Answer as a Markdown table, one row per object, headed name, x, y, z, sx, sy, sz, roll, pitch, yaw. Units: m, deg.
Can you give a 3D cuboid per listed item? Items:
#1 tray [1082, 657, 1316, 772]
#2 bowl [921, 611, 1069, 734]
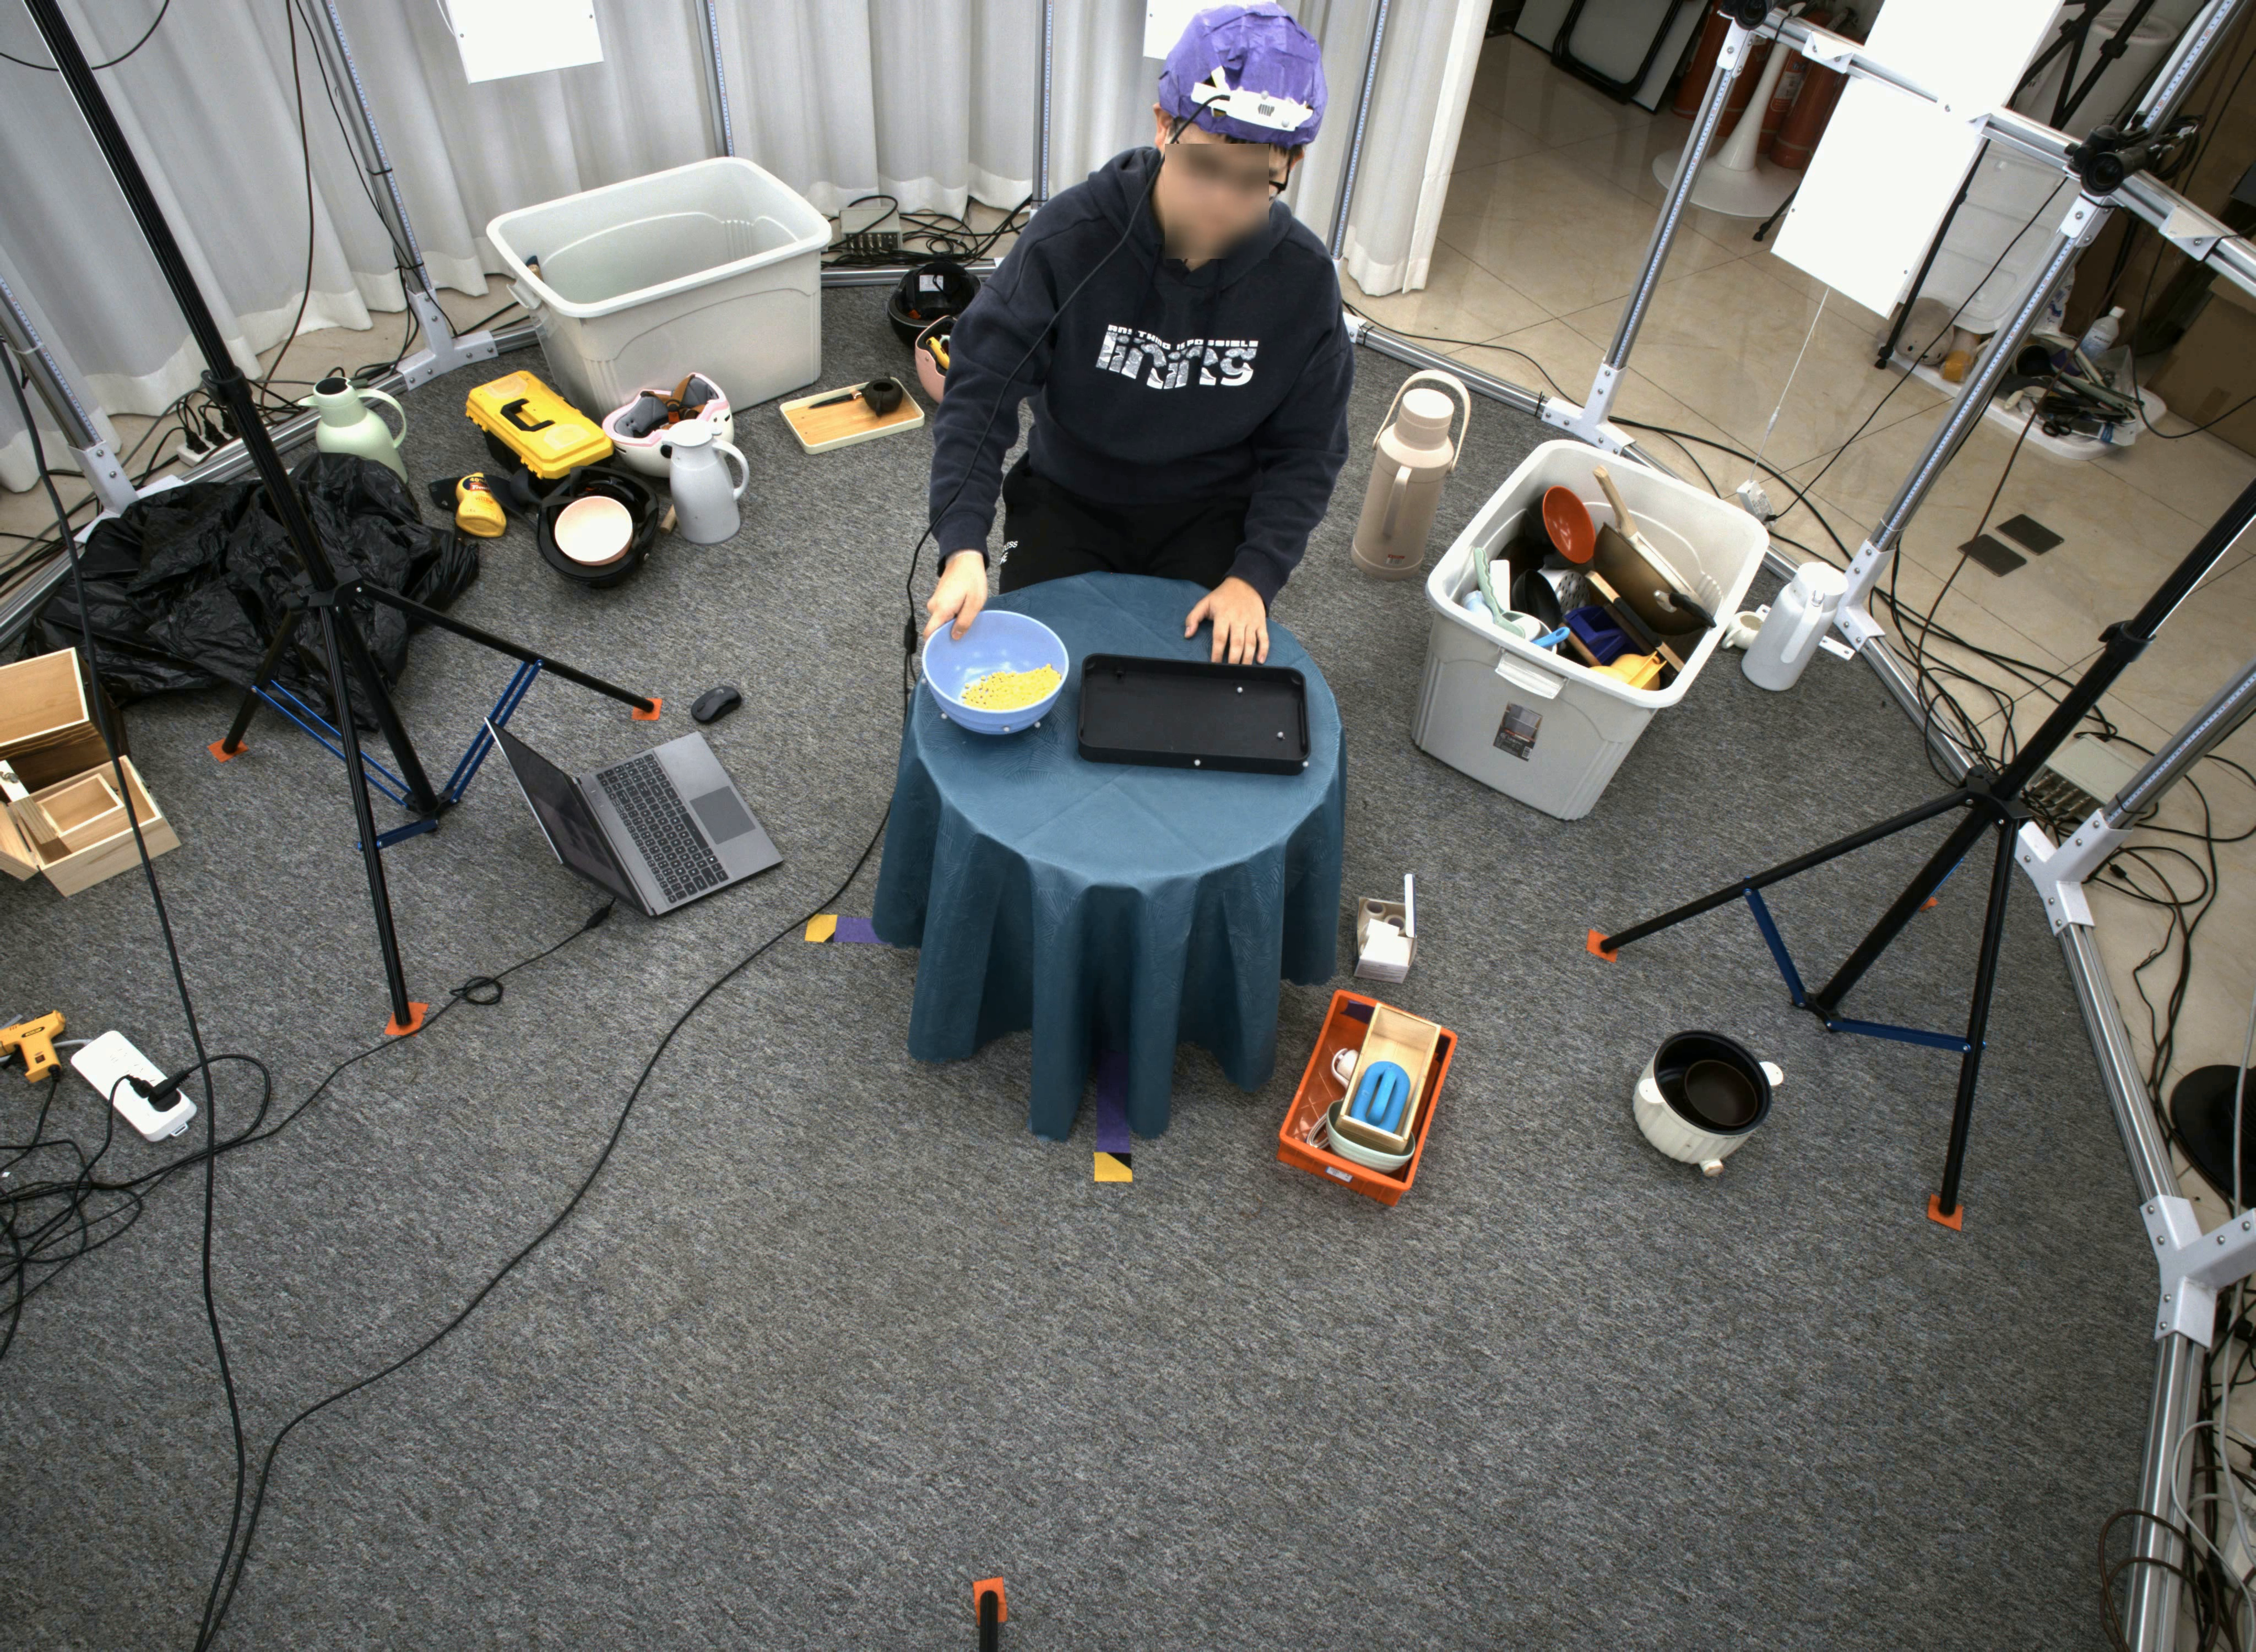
| name | x | y | z | sx | sy | sz | roll | pitch | yaw |
| --- | --- | --- | --- | --- | --- | --- | --- | --- | --- |
| tray | 0.096 | -0.156 | 1.787 | 0.318 | 0.036 | 0.189 | 2 | 48 | -1 |
| bowl | -0.181 | -0.195 | 1.758 | 0.196 | 0.093 | 0.201 | 2 | 49 | -3 |
